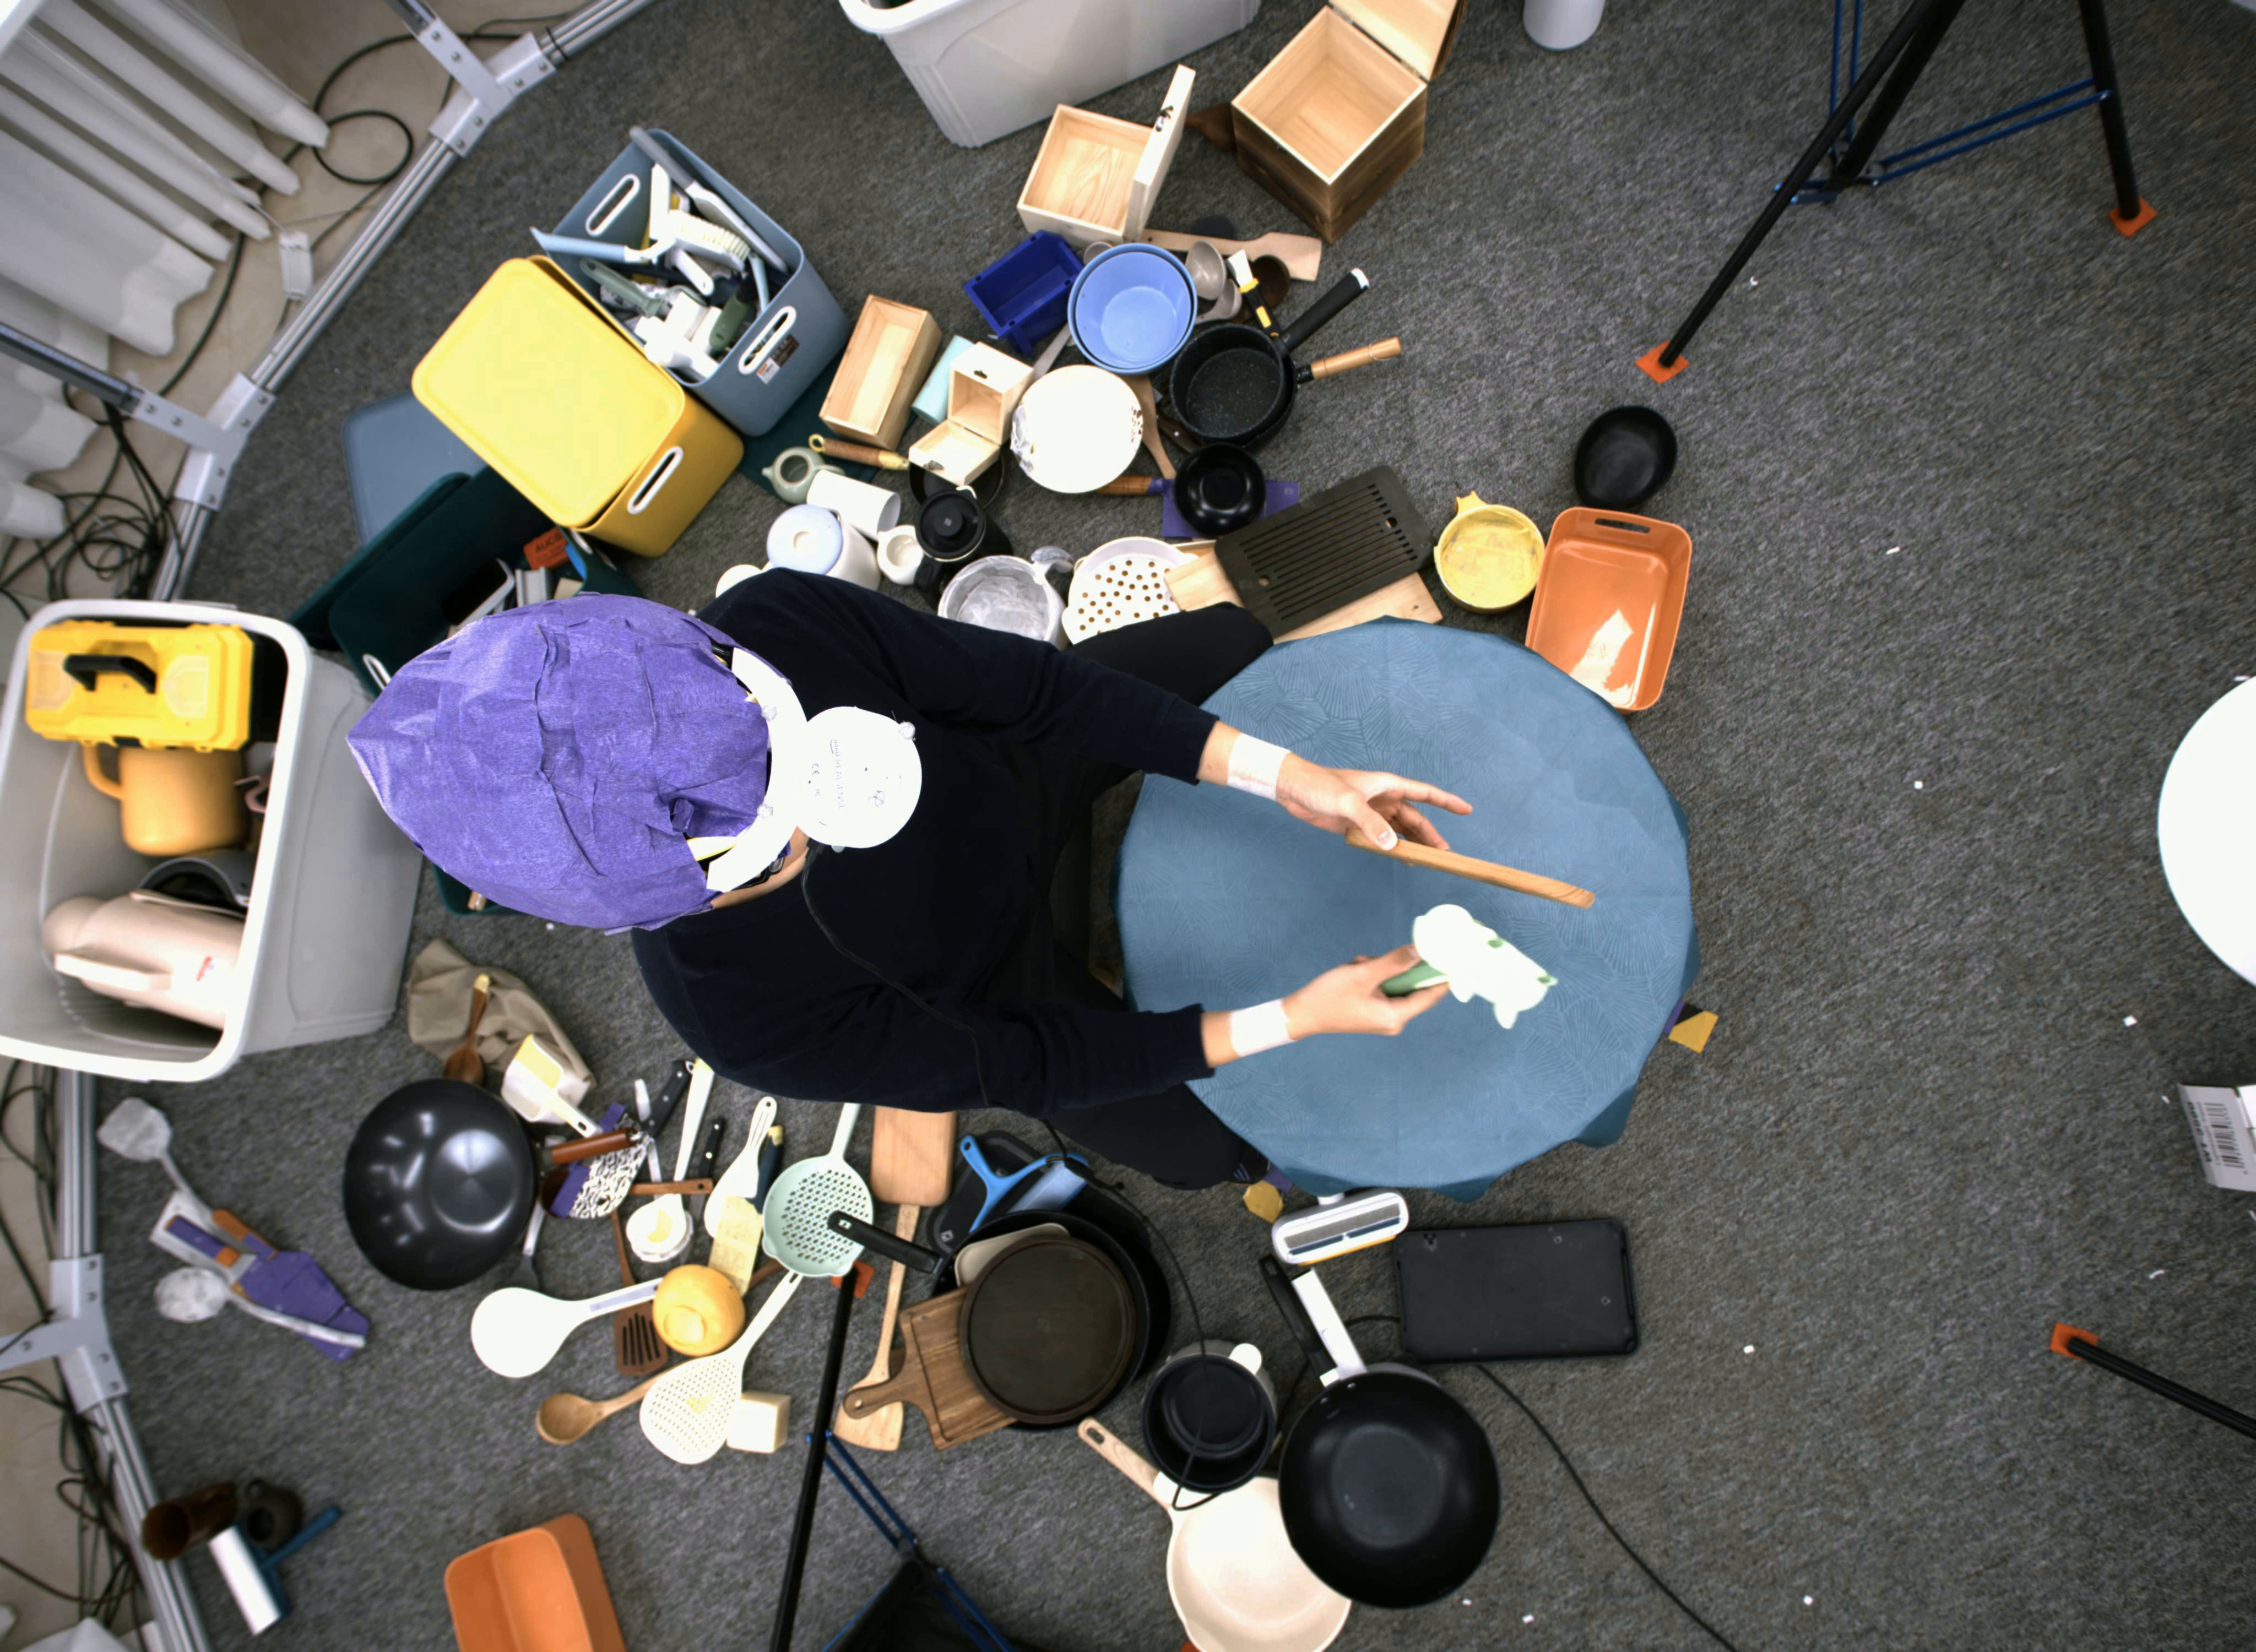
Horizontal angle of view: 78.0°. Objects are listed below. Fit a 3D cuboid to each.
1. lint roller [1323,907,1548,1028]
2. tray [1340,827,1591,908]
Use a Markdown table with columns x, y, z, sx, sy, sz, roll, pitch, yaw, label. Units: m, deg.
| x | y | z | sx | sy | sz | roll | pitch | yaw | label |
| --- | --- | --- | --- | --- | --- | --- | --- | --- | --- |
| 0.264 | 0.147 | 1.238 | 0.186 | 0.200 | 0.080 | -27 | 59 | 25 | lint roller |
| 0.296 | 0.034 | 1.226 | 0.231 | 0.101 | 0.020 | 14 | 88 | 32 | tray |
